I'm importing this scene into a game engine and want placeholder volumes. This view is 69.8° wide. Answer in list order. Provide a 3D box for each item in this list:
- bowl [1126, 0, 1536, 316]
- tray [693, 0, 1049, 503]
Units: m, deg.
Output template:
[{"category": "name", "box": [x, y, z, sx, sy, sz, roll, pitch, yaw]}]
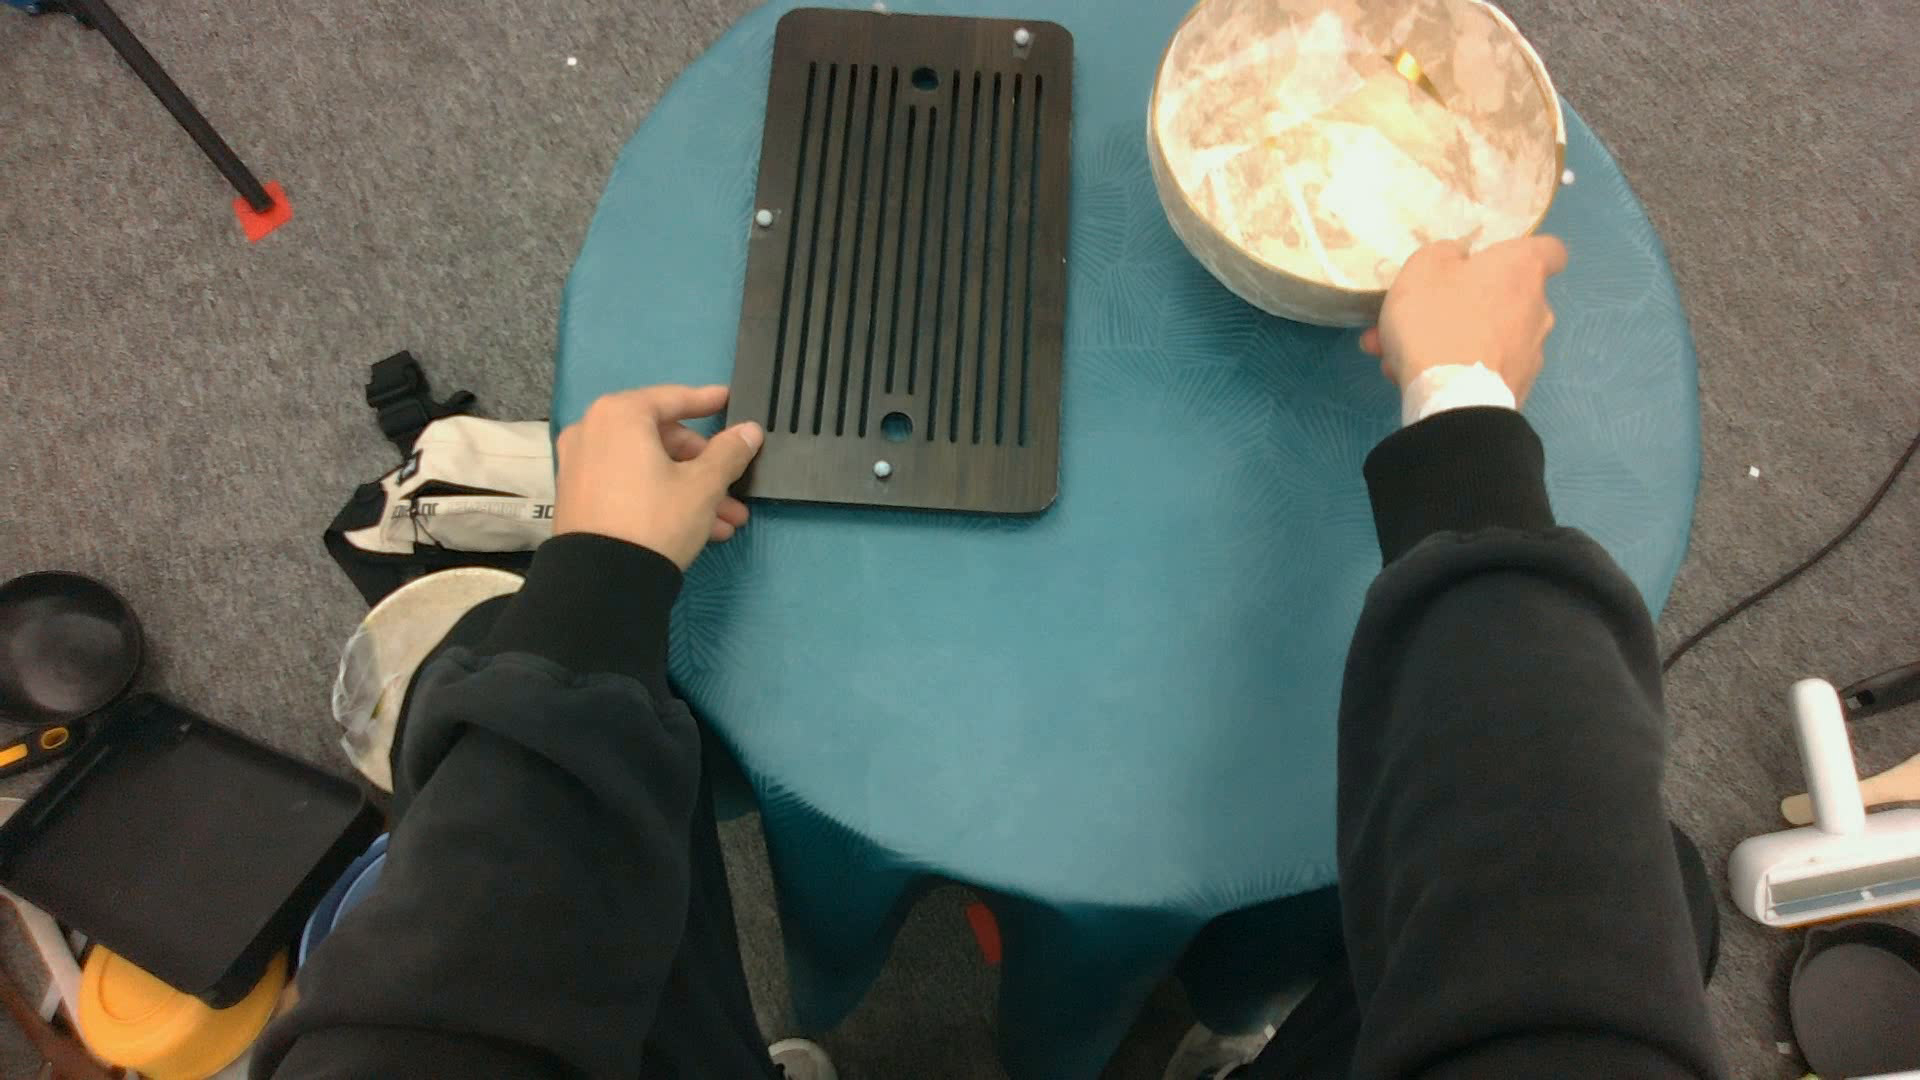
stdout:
[{"category": "bowl", "box": [0.178, -0.195, 0.715, 0.215, 0.094, 0.215, 1, 68, -3]}, {"category": "tray", "box": [-0.041, -0.163, 0.739, 0.170, 0.018, 0.307, 3, 68, 0]}]
